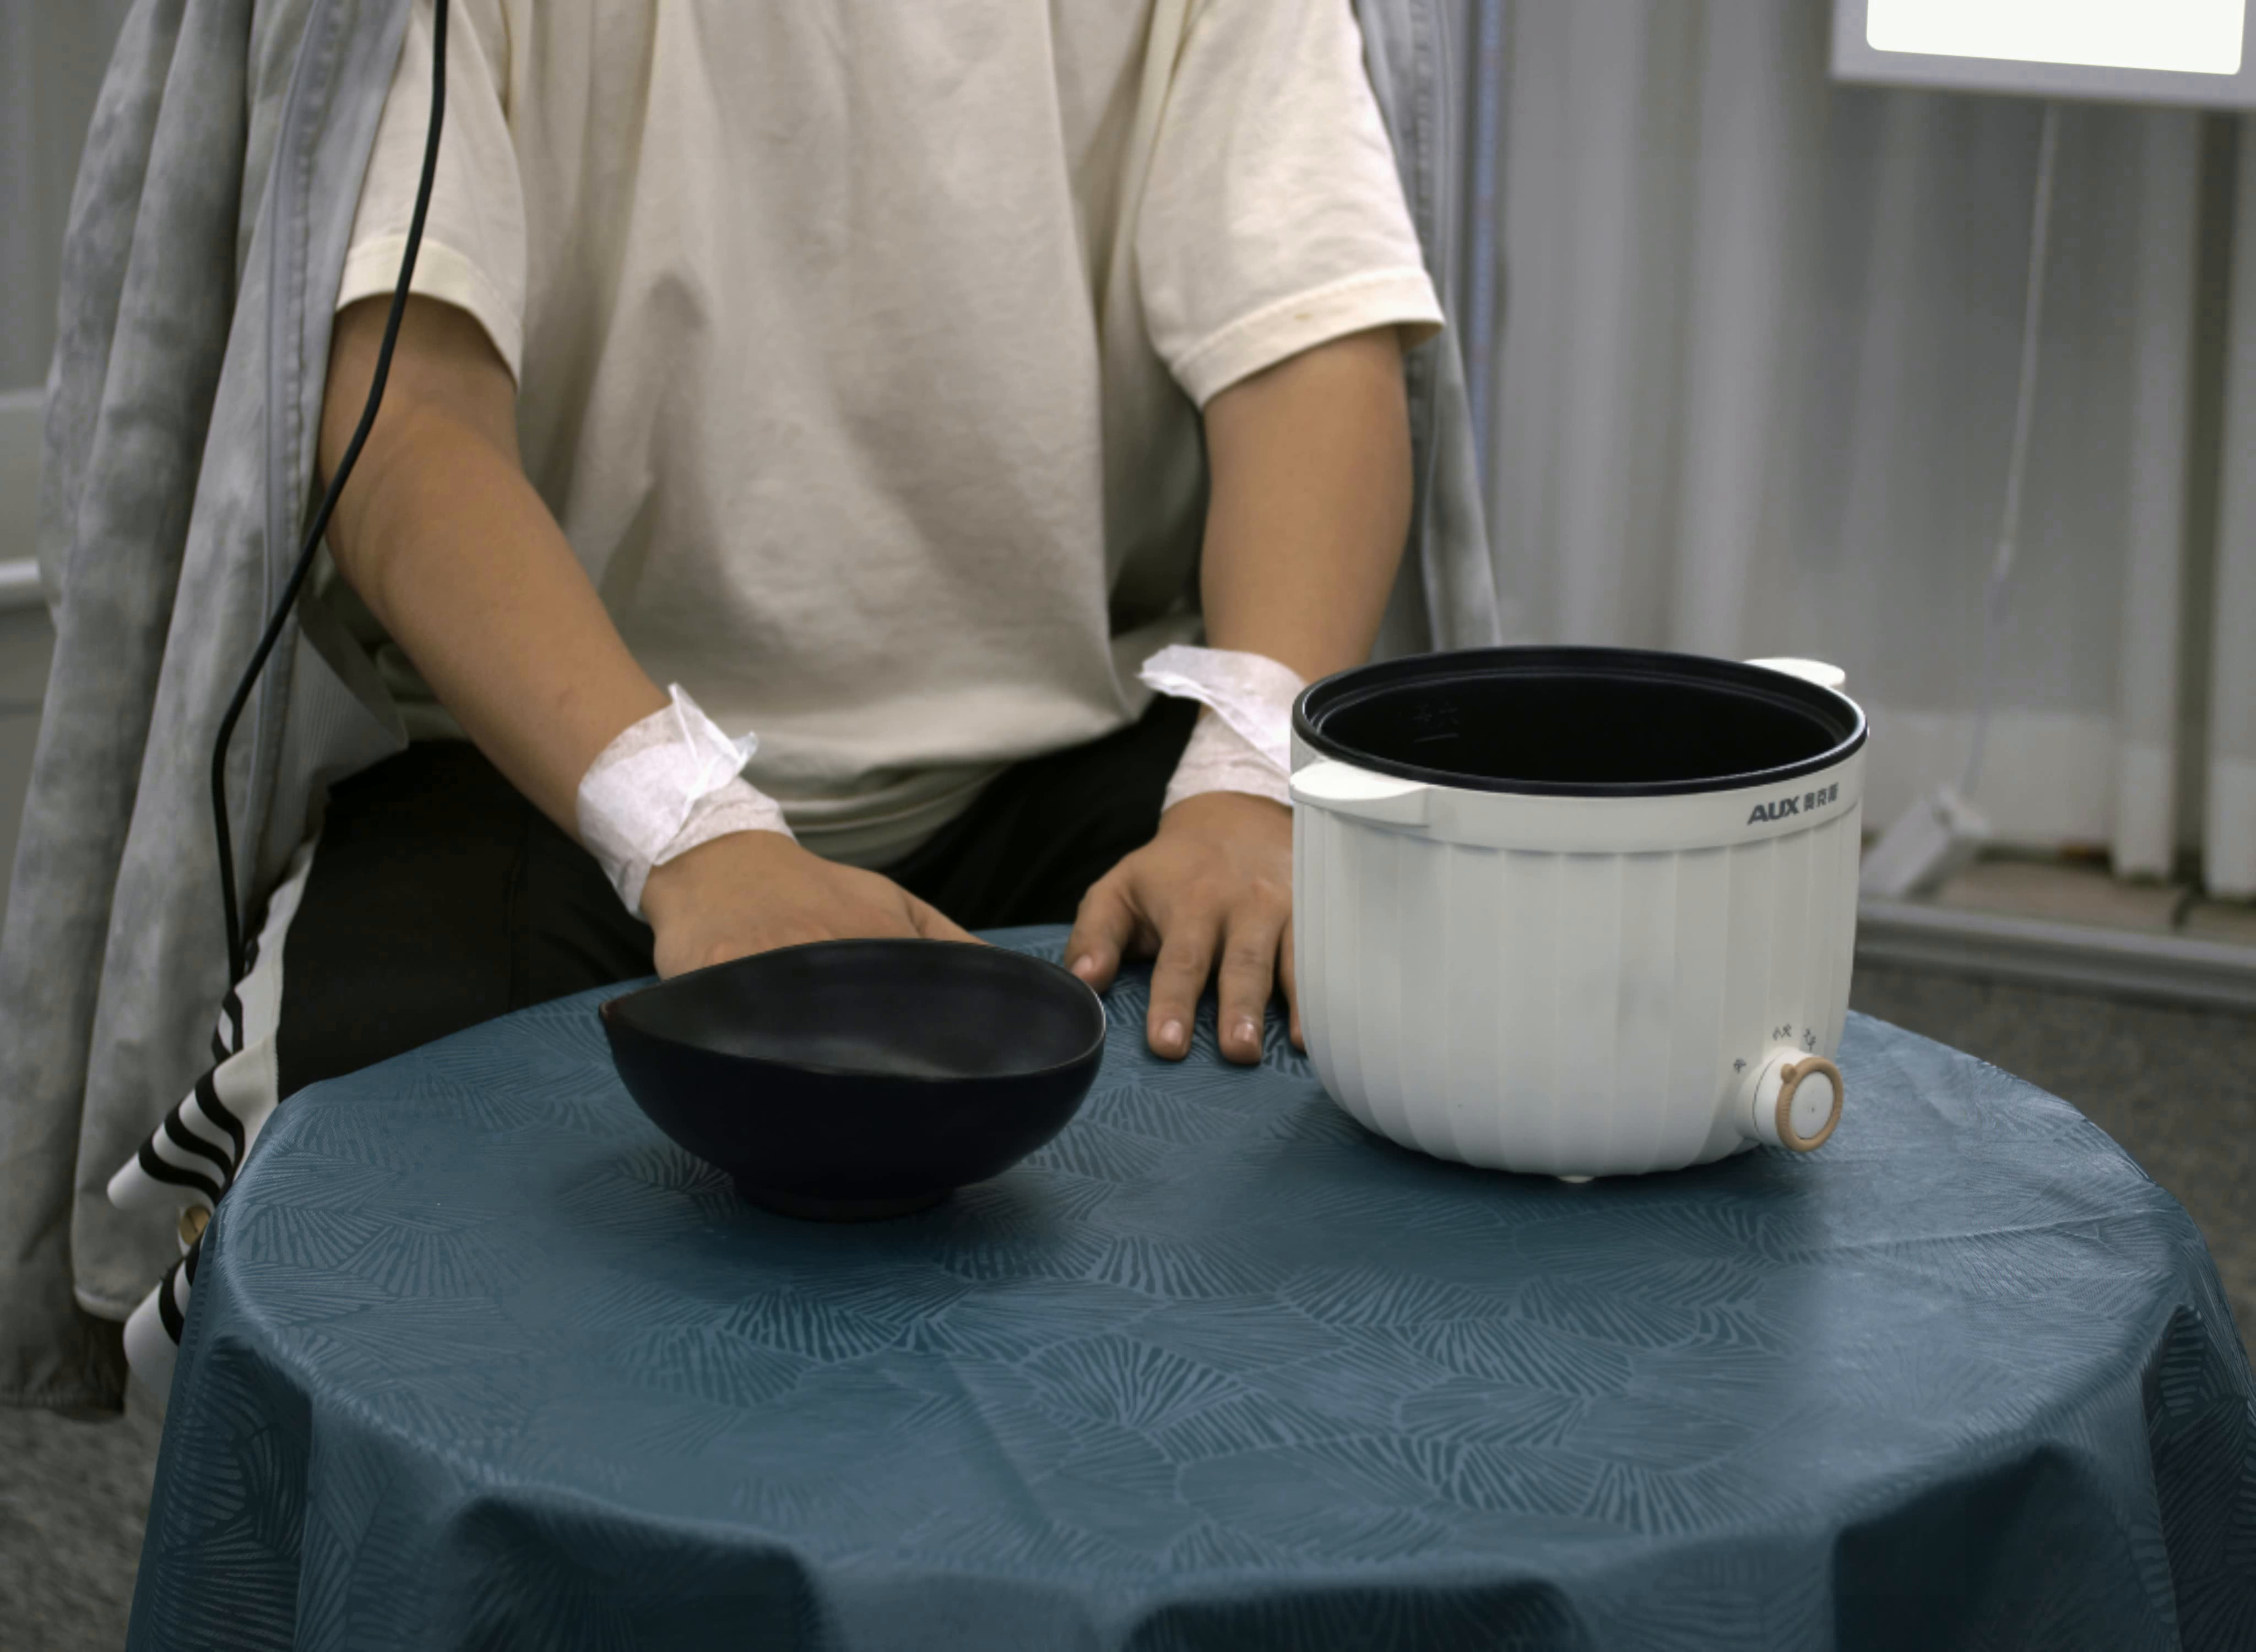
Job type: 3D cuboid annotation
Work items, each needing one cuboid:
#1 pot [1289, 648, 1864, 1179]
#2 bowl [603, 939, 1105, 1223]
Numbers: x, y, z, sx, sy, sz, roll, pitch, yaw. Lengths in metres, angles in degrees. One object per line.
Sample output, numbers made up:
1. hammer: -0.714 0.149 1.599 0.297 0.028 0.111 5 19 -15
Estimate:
1. pot: 0.146 0.029 1.674 0.241 0.144 0.188 -15 19 -42
2. bowl: -0.086 0.082 1.614 0.168 0.067 0.138 10 17 34
